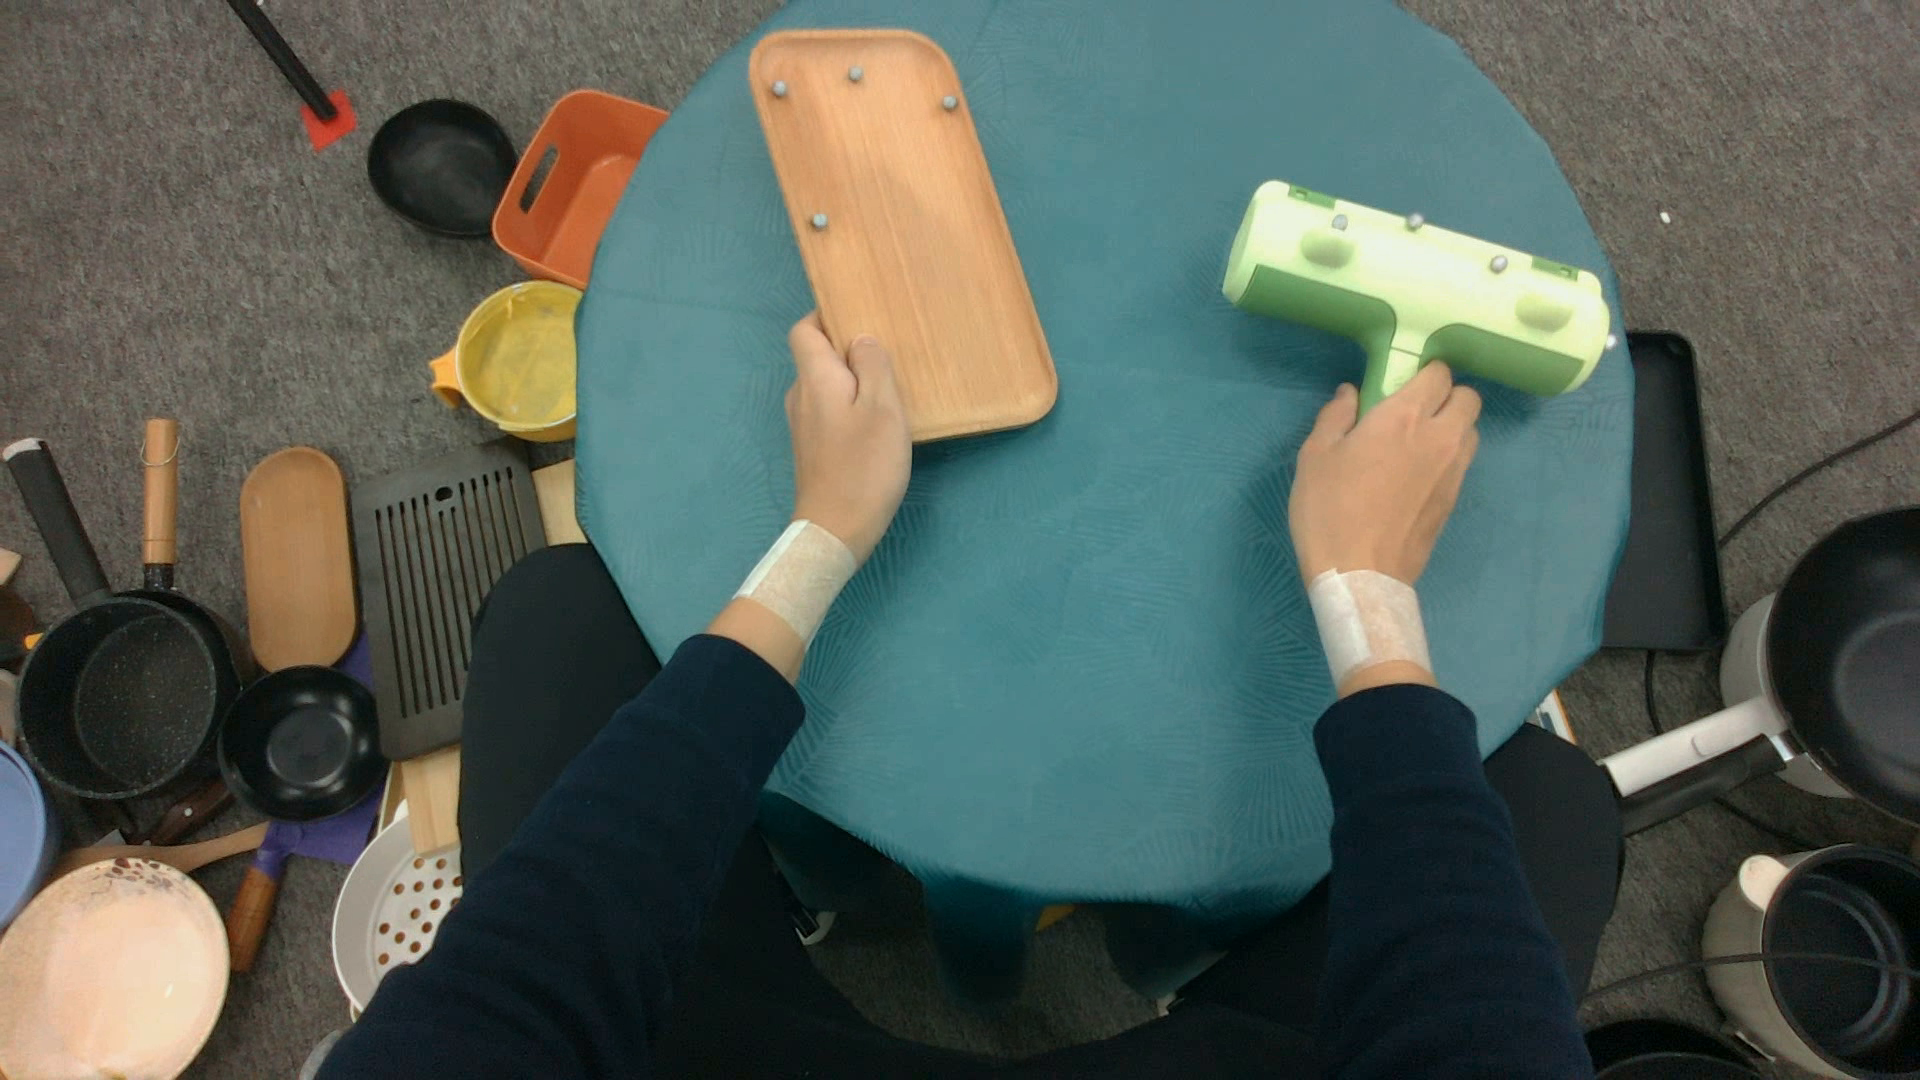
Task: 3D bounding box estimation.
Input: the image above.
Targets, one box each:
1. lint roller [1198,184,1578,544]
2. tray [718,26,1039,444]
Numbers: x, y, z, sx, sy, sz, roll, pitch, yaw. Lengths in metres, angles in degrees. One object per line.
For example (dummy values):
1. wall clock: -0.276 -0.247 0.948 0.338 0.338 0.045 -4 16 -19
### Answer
1. lint roller: 0.220 -0.092 0.720 0.198 0.082 0.184 14 66 0
2. tray: -0.046 -0.174 0.766 0.131 0.023 0.251 -13 78 -25
